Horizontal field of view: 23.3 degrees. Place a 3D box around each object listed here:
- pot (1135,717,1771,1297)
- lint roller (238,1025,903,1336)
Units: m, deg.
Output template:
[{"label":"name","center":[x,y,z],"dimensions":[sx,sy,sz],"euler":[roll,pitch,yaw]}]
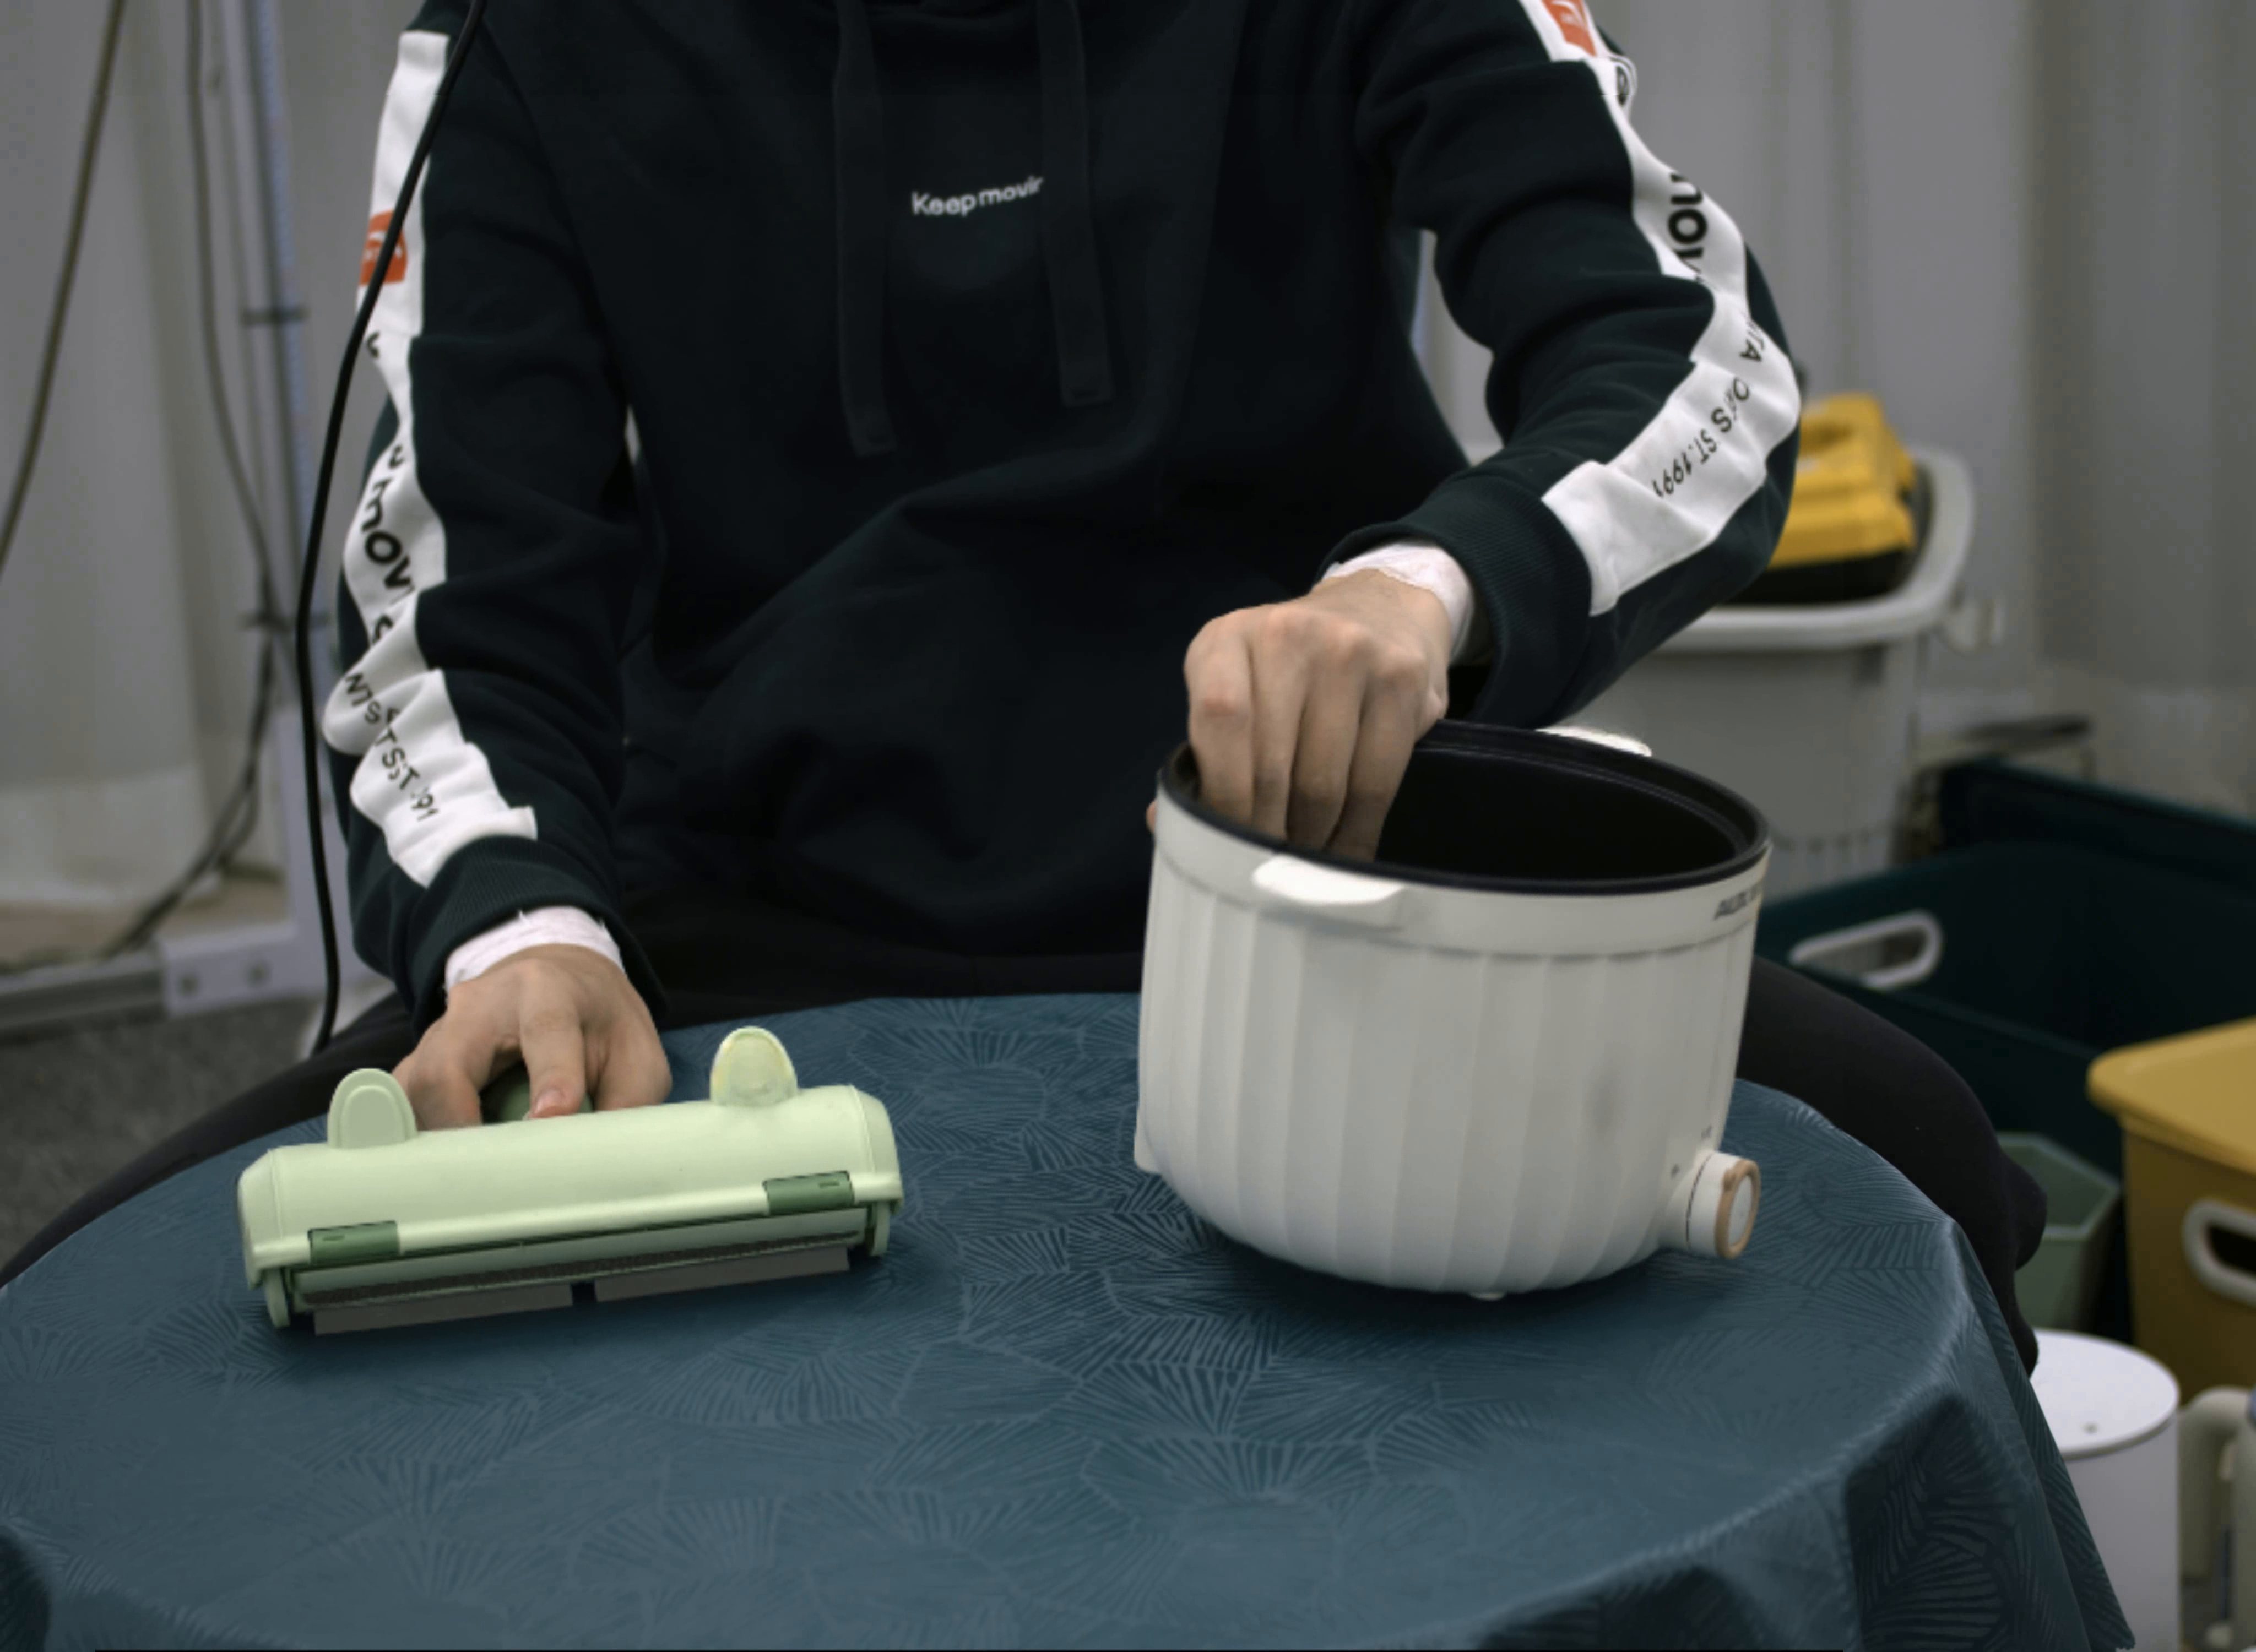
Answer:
[{"label":"pot","center":[0.099,0.055,1.624],"dimensions":[0.191,0.142,0.240],"euler":[9,15,24]},{"label":"lint roller","center":[-0.180,0.089,1.695],"dimensions":[0.198,0.081,0.185],"euler":[-6,22,-11]}]
